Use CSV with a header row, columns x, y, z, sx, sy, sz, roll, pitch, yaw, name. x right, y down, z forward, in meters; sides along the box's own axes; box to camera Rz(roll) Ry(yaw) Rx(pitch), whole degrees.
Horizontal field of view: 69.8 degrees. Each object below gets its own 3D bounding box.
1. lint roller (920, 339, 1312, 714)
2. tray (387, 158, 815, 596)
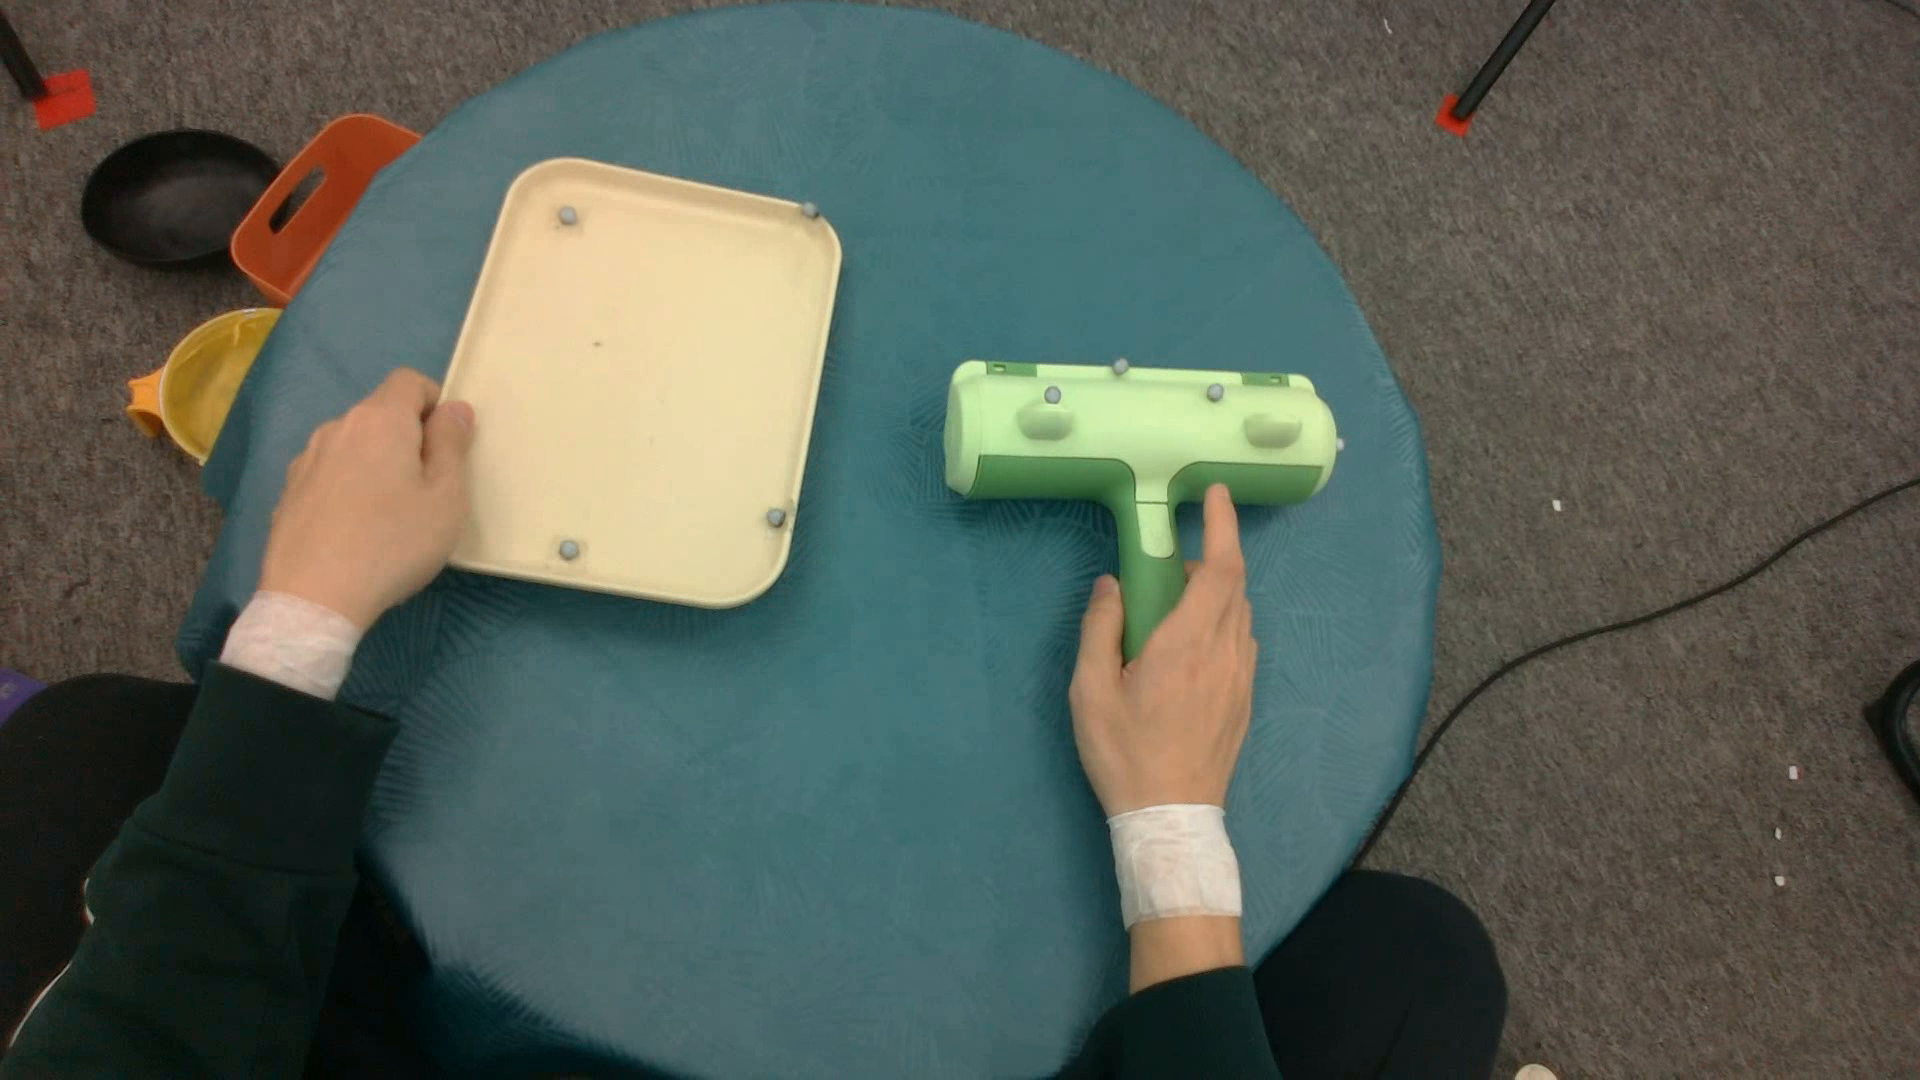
x,y,z,sx,sy,sz,roll,pitch,yaw,name
0.087,-0.014,0.661,0.199,0.082,0.184,-1,66,-16,lint roller
-0.165,-0.084,0.666,0.171,0.017,0.240,7,61,-5,tray
